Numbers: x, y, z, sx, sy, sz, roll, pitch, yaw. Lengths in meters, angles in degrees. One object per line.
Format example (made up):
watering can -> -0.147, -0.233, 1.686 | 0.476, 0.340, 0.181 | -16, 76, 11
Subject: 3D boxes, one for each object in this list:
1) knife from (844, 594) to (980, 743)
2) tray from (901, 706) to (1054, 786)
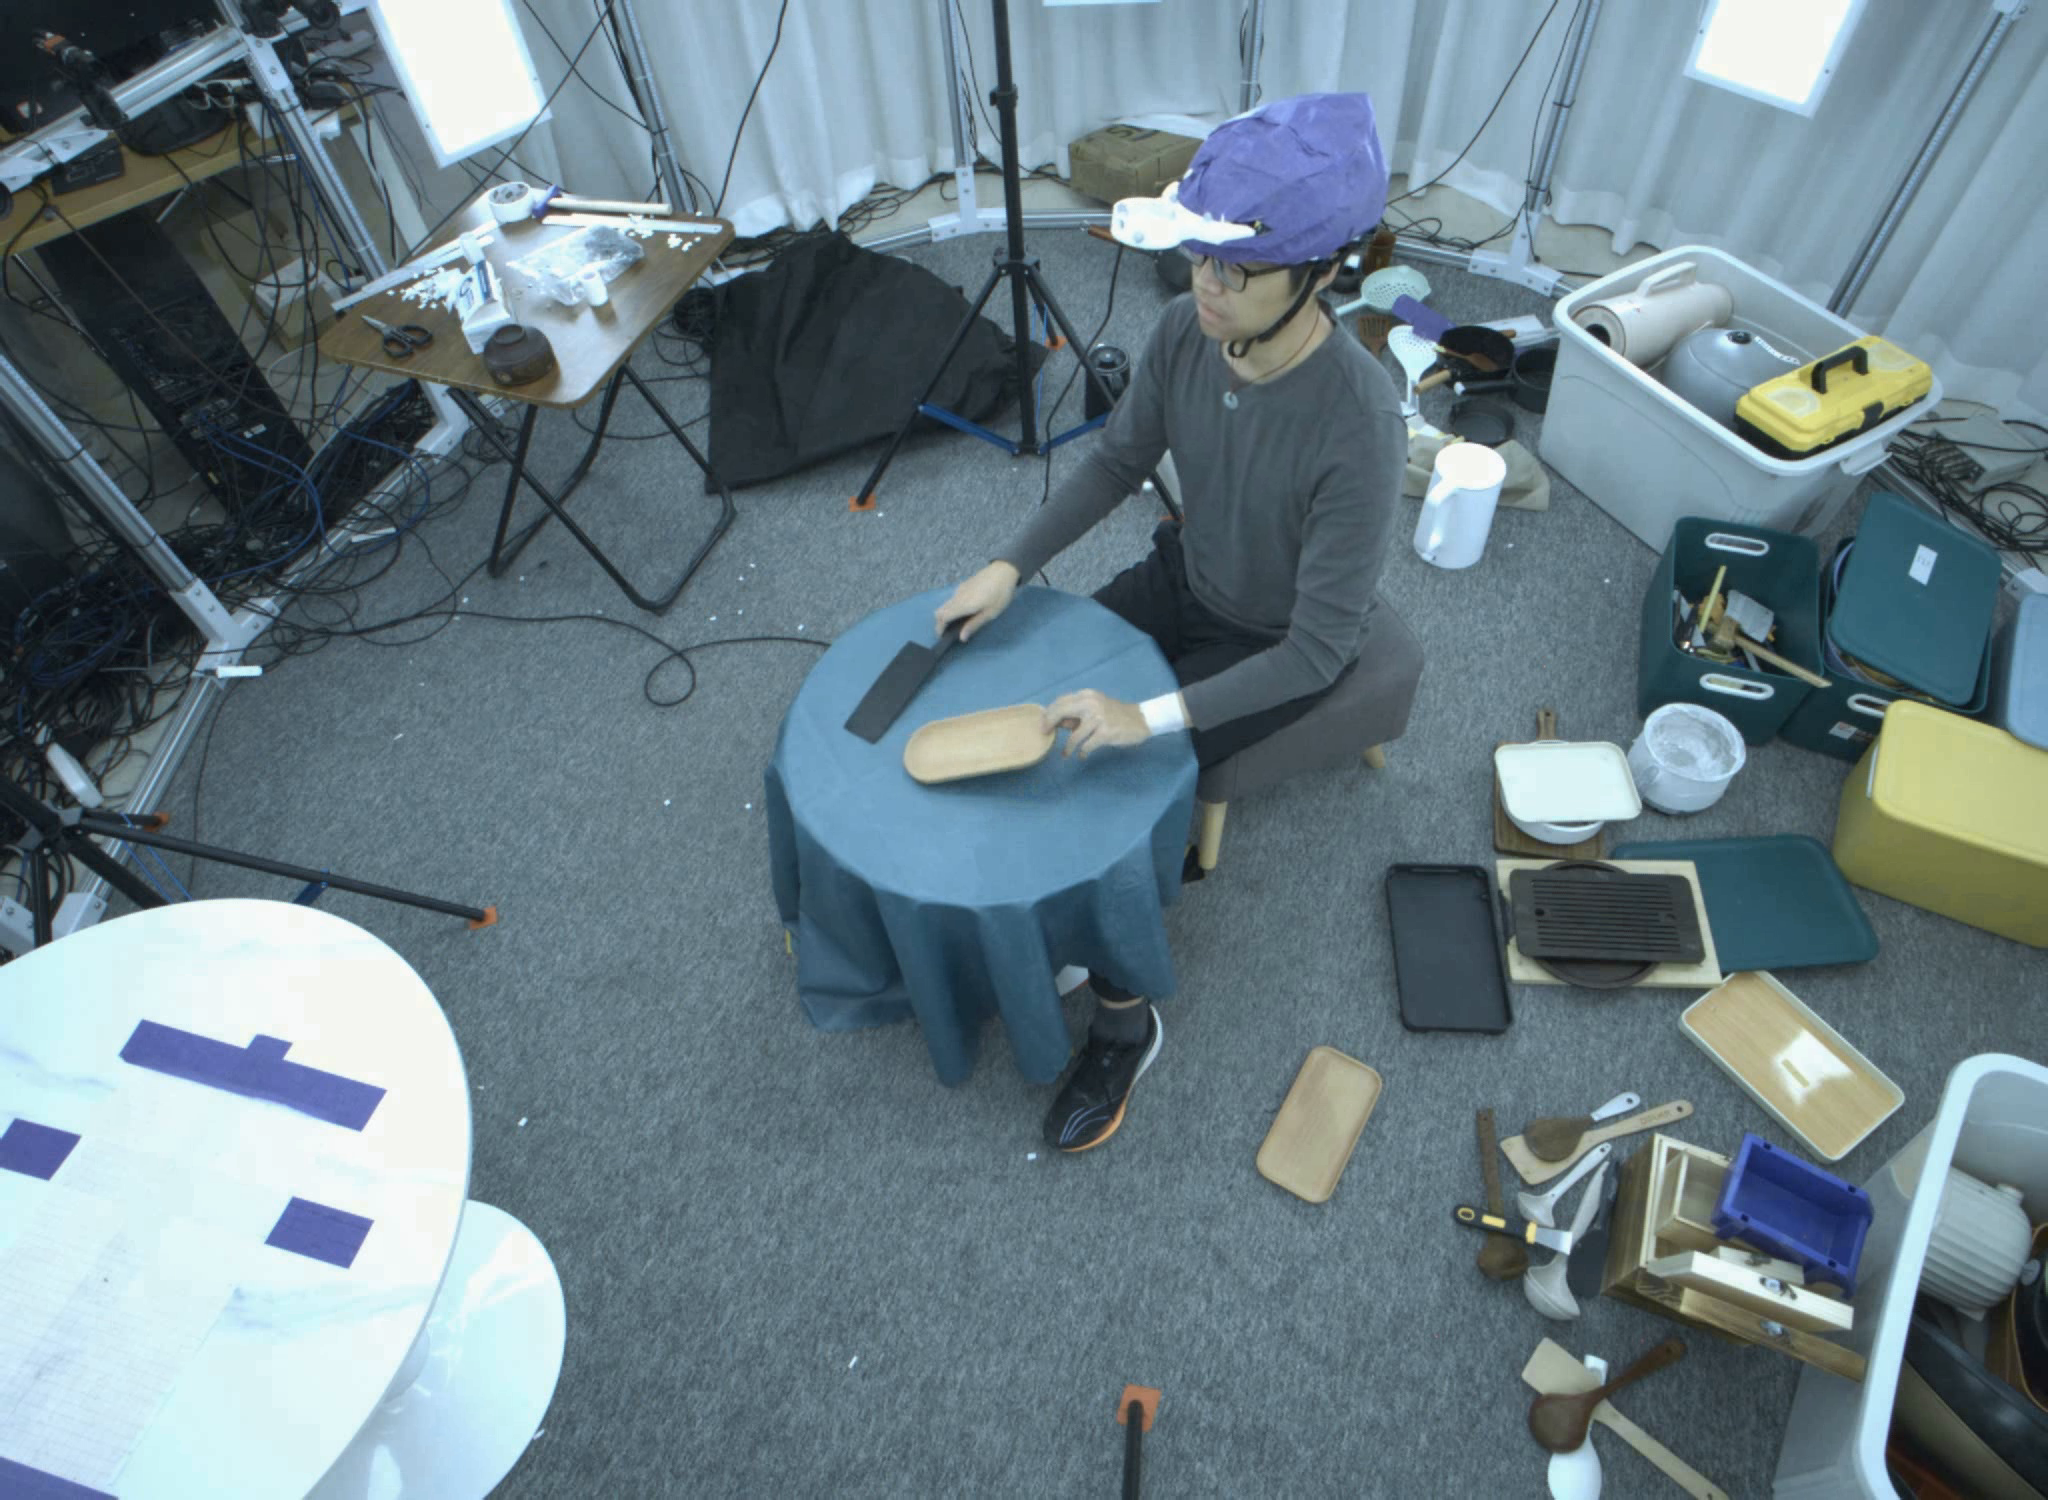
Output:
knife -> -0.165, -0.131, 1.874 | 0.079, 0.021, 0.303 | 30, 65, 21
tray -> -0.067, -0.005, 1.756 | 0.229, 0.021, 0.100 | -11, 56, 15
